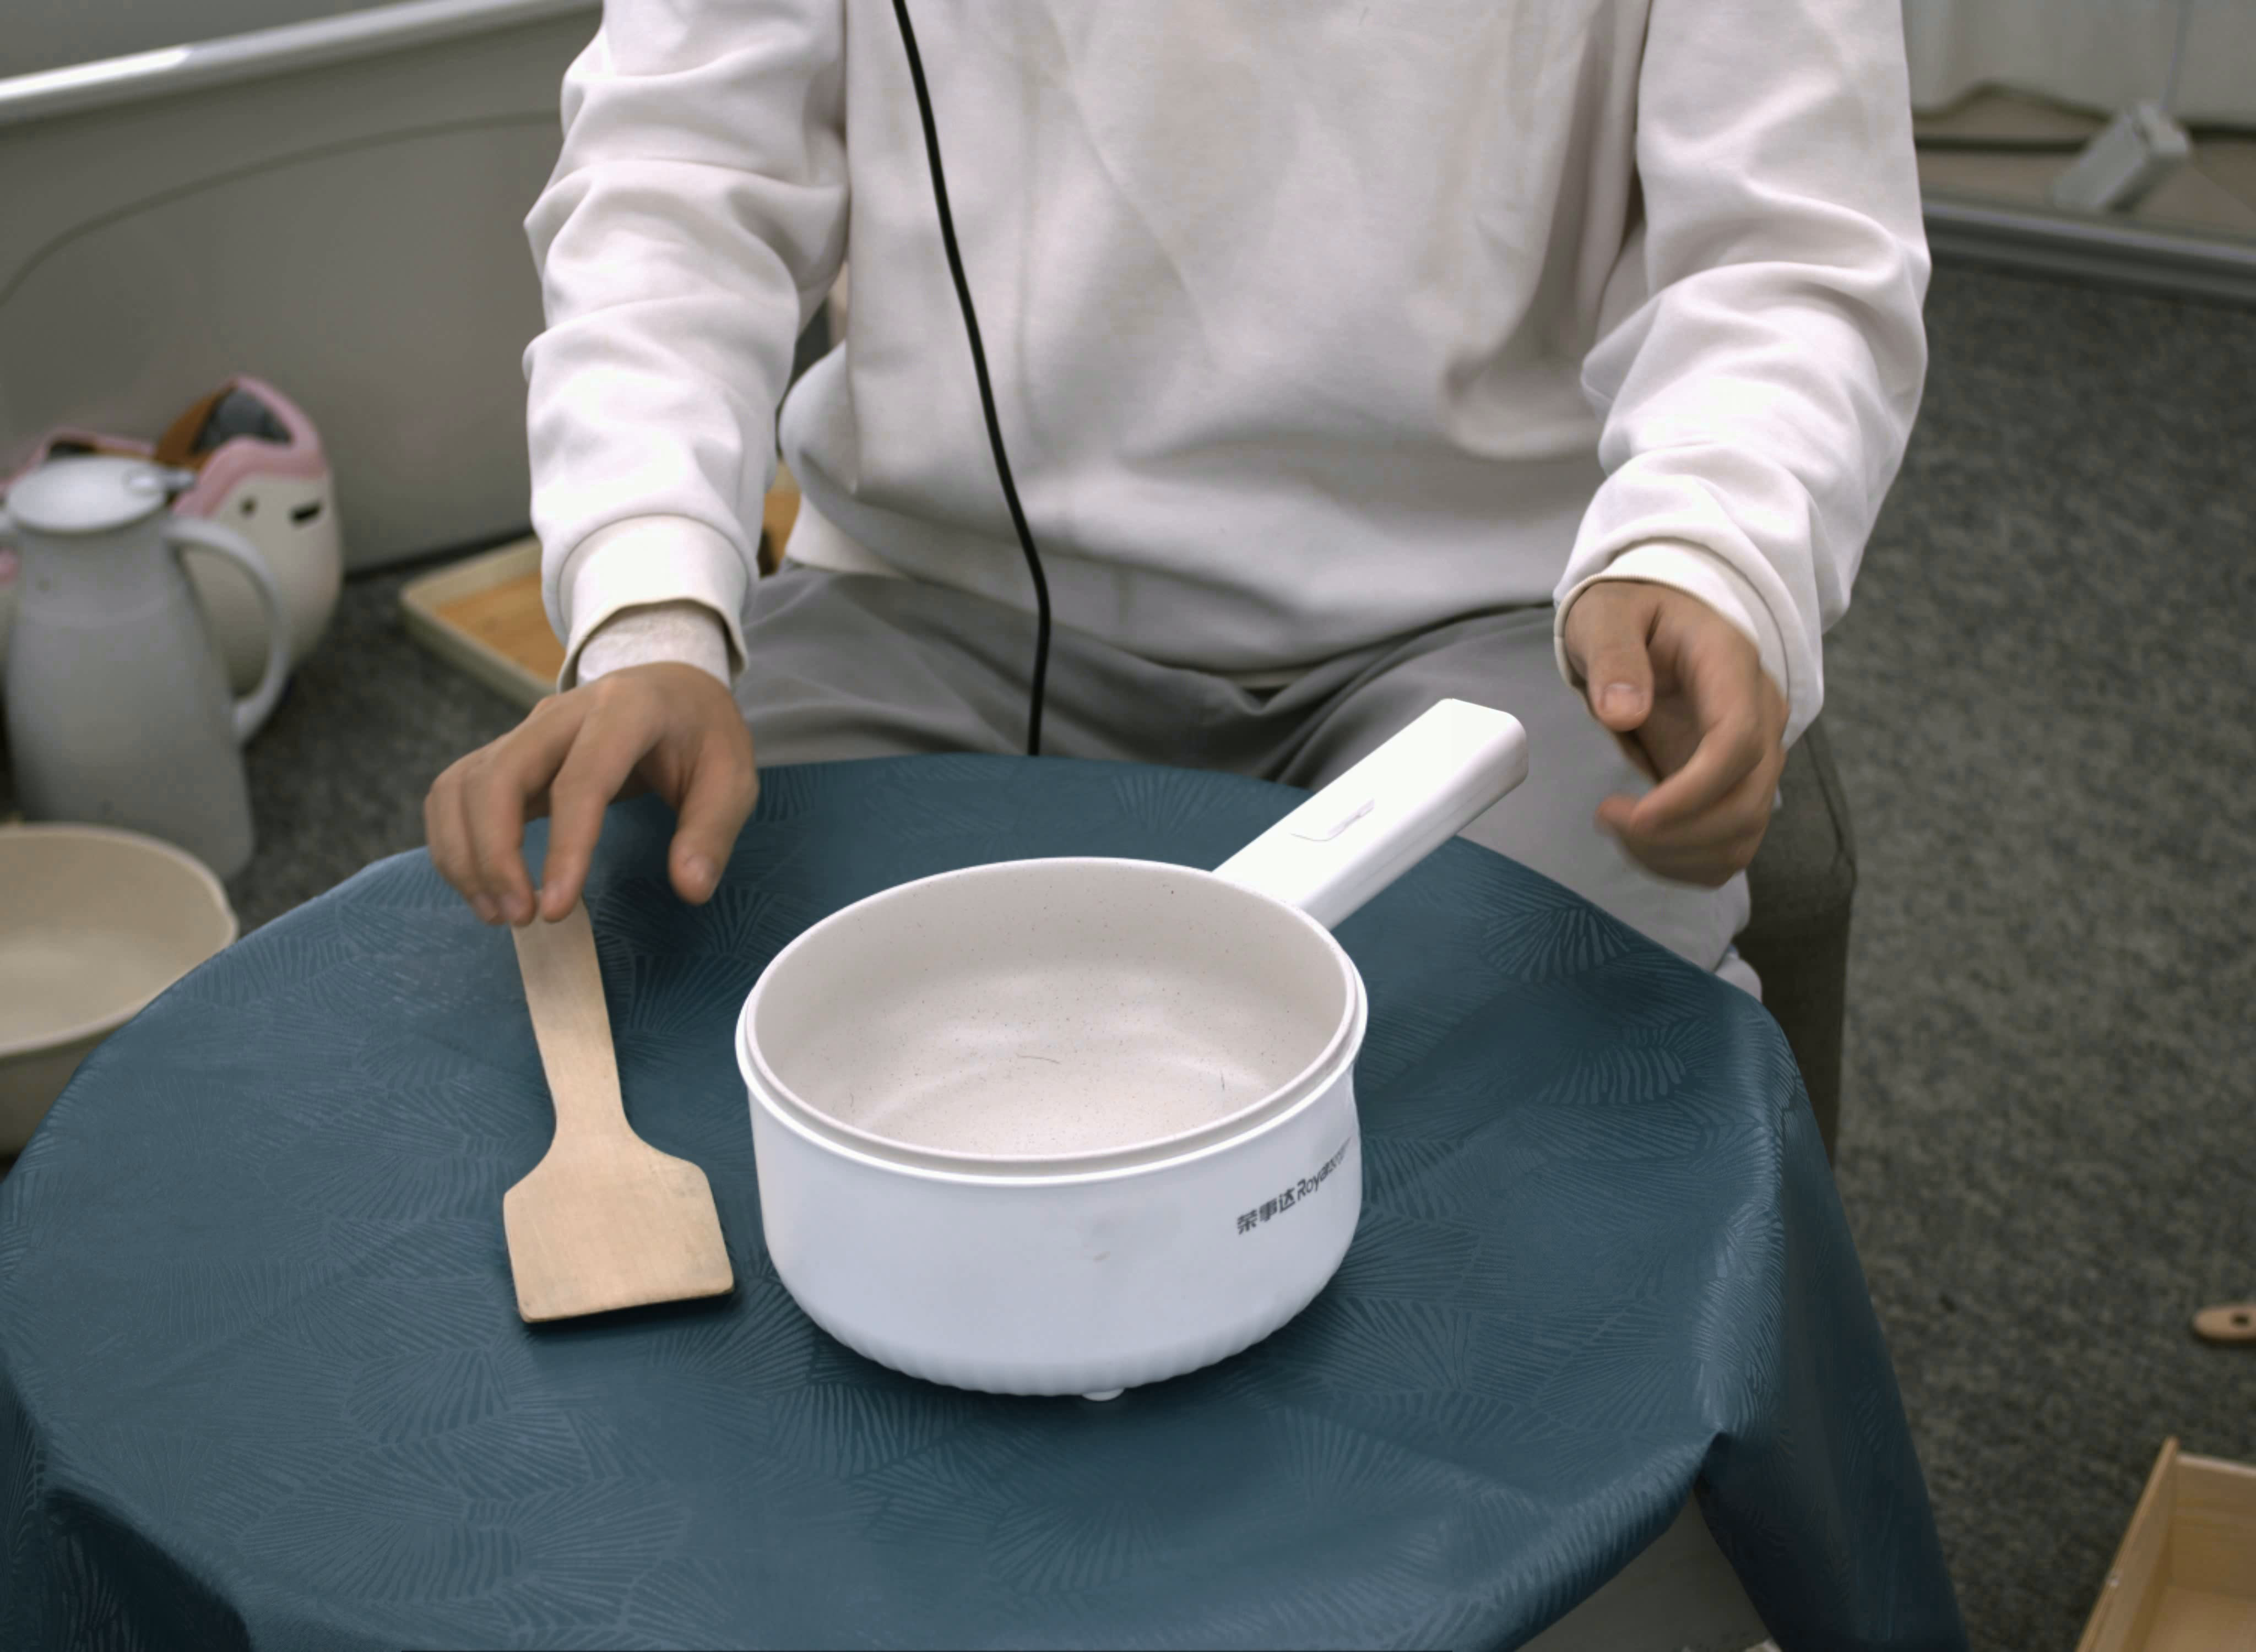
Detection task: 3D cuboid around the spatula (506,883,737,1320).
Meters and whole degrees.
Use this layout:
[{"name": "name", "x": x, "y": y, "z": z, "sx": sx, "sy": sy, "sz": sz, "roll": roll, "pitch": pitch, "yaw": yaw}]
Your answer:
[{"name": "spatula", "x": -0.187, "y": 0.091, "z": 1.931, "sx": 0.072, "sy": 0.010, "sz": 0.296, "roll": -9, "pitch": 28, "yaw": -8}]

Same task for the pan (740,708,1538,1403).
[{"name": "pan", "x": 0.024, "y": 0.071, "z": 1.857, "sx": 0.200, "sy": 0.101, "sz": 0.360, "roll": 15, "pitch": 31, "yaw": 33}]
